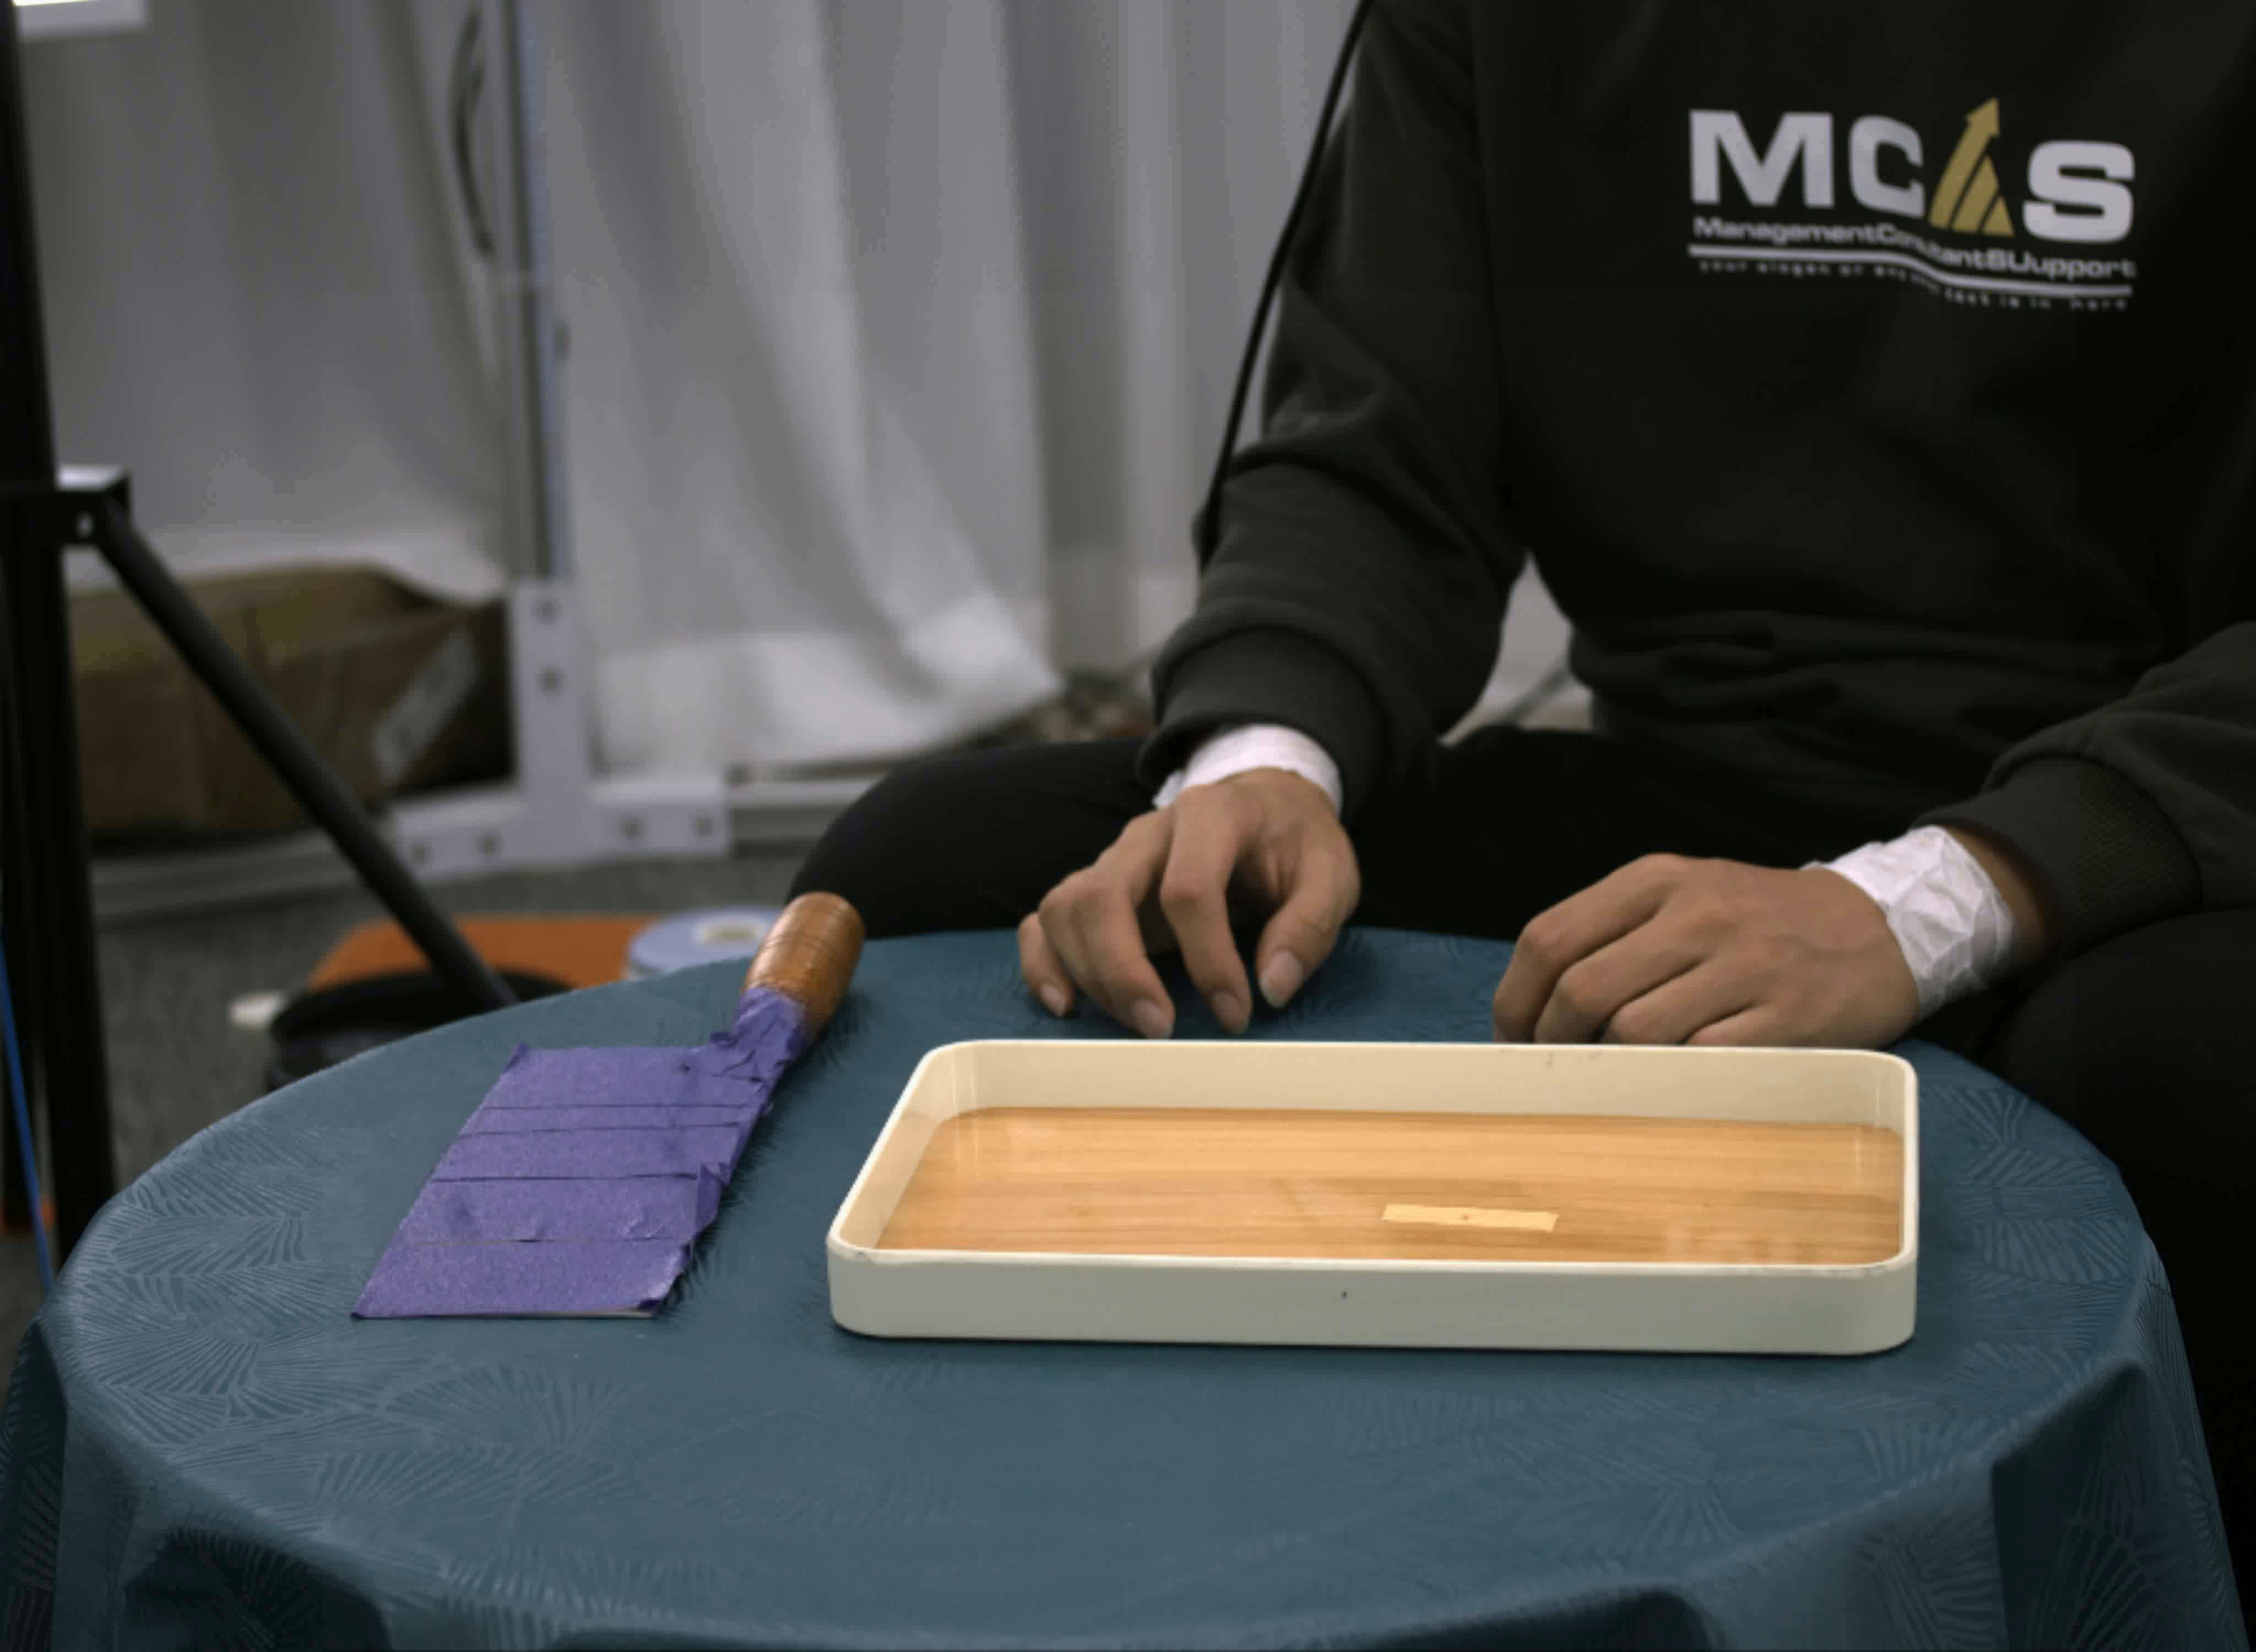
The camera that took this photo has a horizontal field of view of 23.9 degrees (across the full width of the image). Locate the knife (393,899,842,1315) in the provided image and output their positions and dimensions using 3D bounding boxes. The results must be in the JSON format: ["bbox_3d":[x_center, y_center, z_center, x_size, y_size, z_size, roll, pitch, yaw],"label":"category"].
[{"bbox_3d":[-0.153,0.082,1.627,0.104,0.032,0.315,0,16,7],"label":"knife"}]

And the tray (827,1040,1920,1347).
[{"bbox_3d":[0.075,0.104,1.516,0.301,0.027,0.191,0,15,10],"label":"tray"}]
